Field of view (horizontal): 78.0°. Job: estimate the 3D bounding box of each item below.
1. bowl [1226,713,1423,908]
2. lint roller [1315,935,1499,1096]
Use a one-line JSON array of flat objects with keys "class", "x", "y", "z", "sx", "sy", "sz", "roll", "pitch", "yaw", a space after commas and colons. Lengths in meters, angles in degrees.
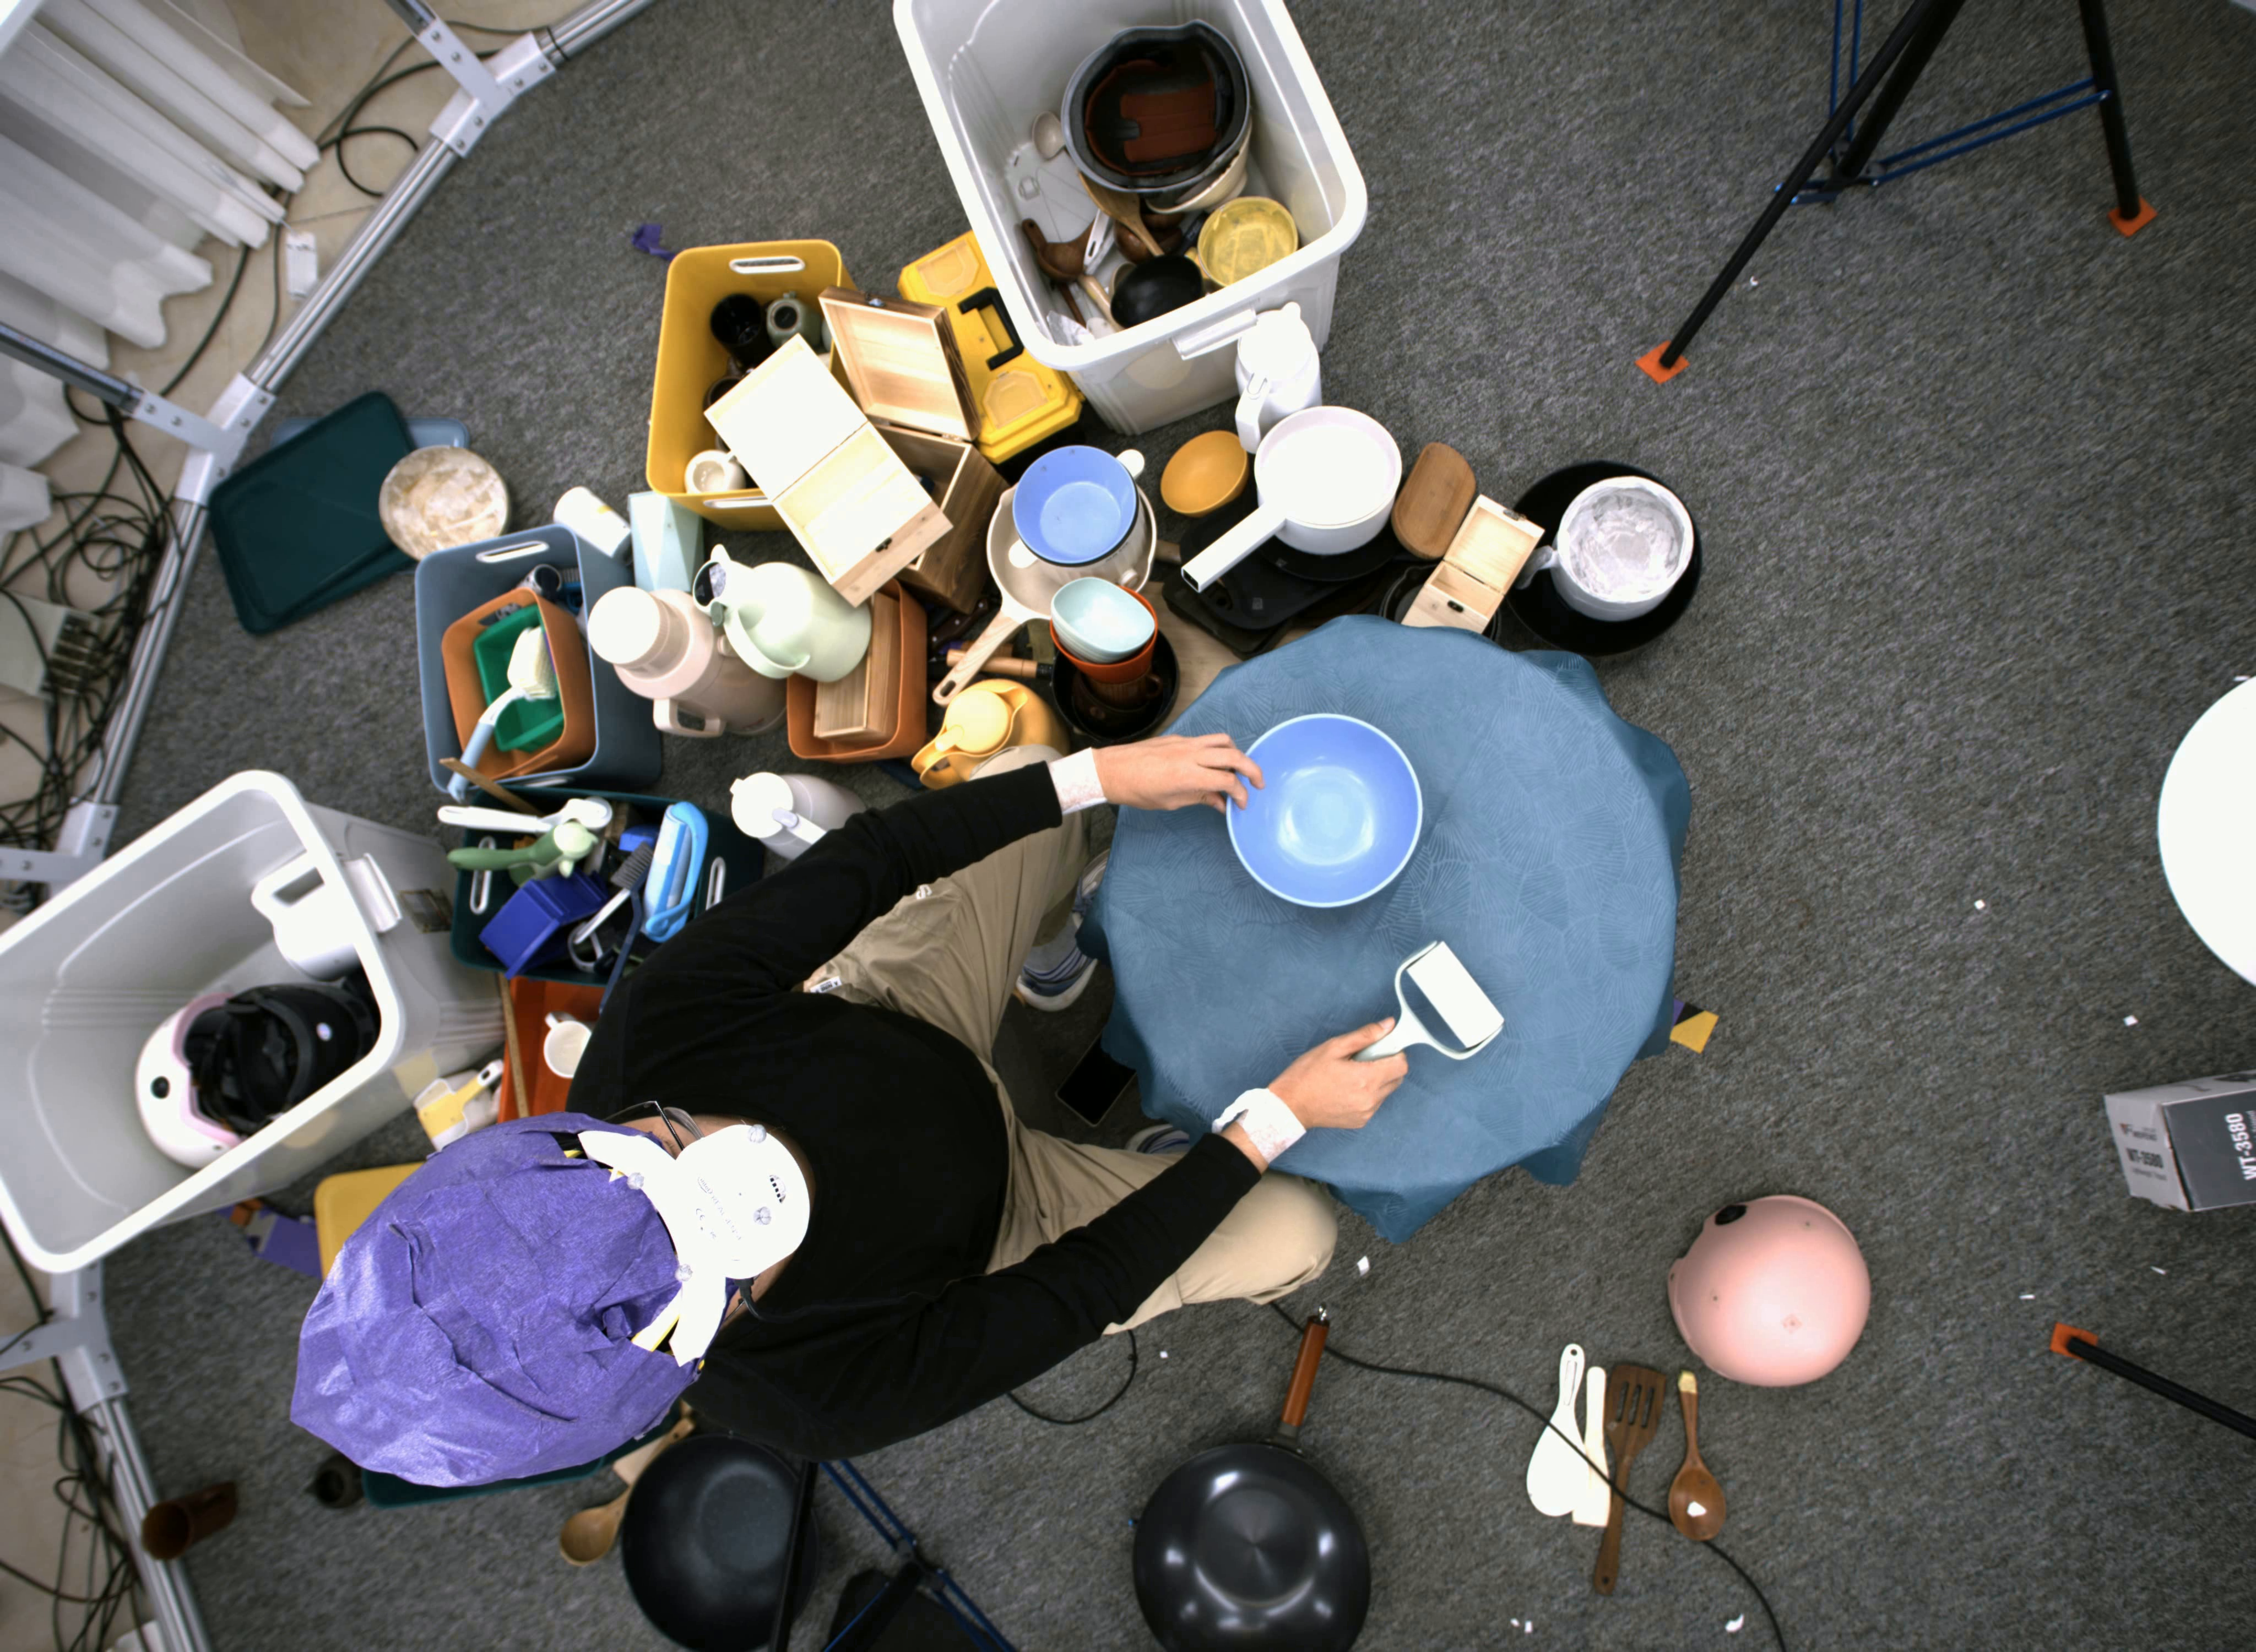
[{"class": "bowl", "x": 0.203, "y": -0.013, "z": 1.428, "sx": 0.197, "sy": 0.095, "sz": 0.196, "roll": -1, "pitch": 87, "yaw": 10}, {"class": "lint roller", "x": 0.267, "y": 0.208, "z": 1.402, "sx": 0.199, "sy": 0.048, "sz": 0.116, "roll": -39, "pitch": 86, "yaw": 8}]
